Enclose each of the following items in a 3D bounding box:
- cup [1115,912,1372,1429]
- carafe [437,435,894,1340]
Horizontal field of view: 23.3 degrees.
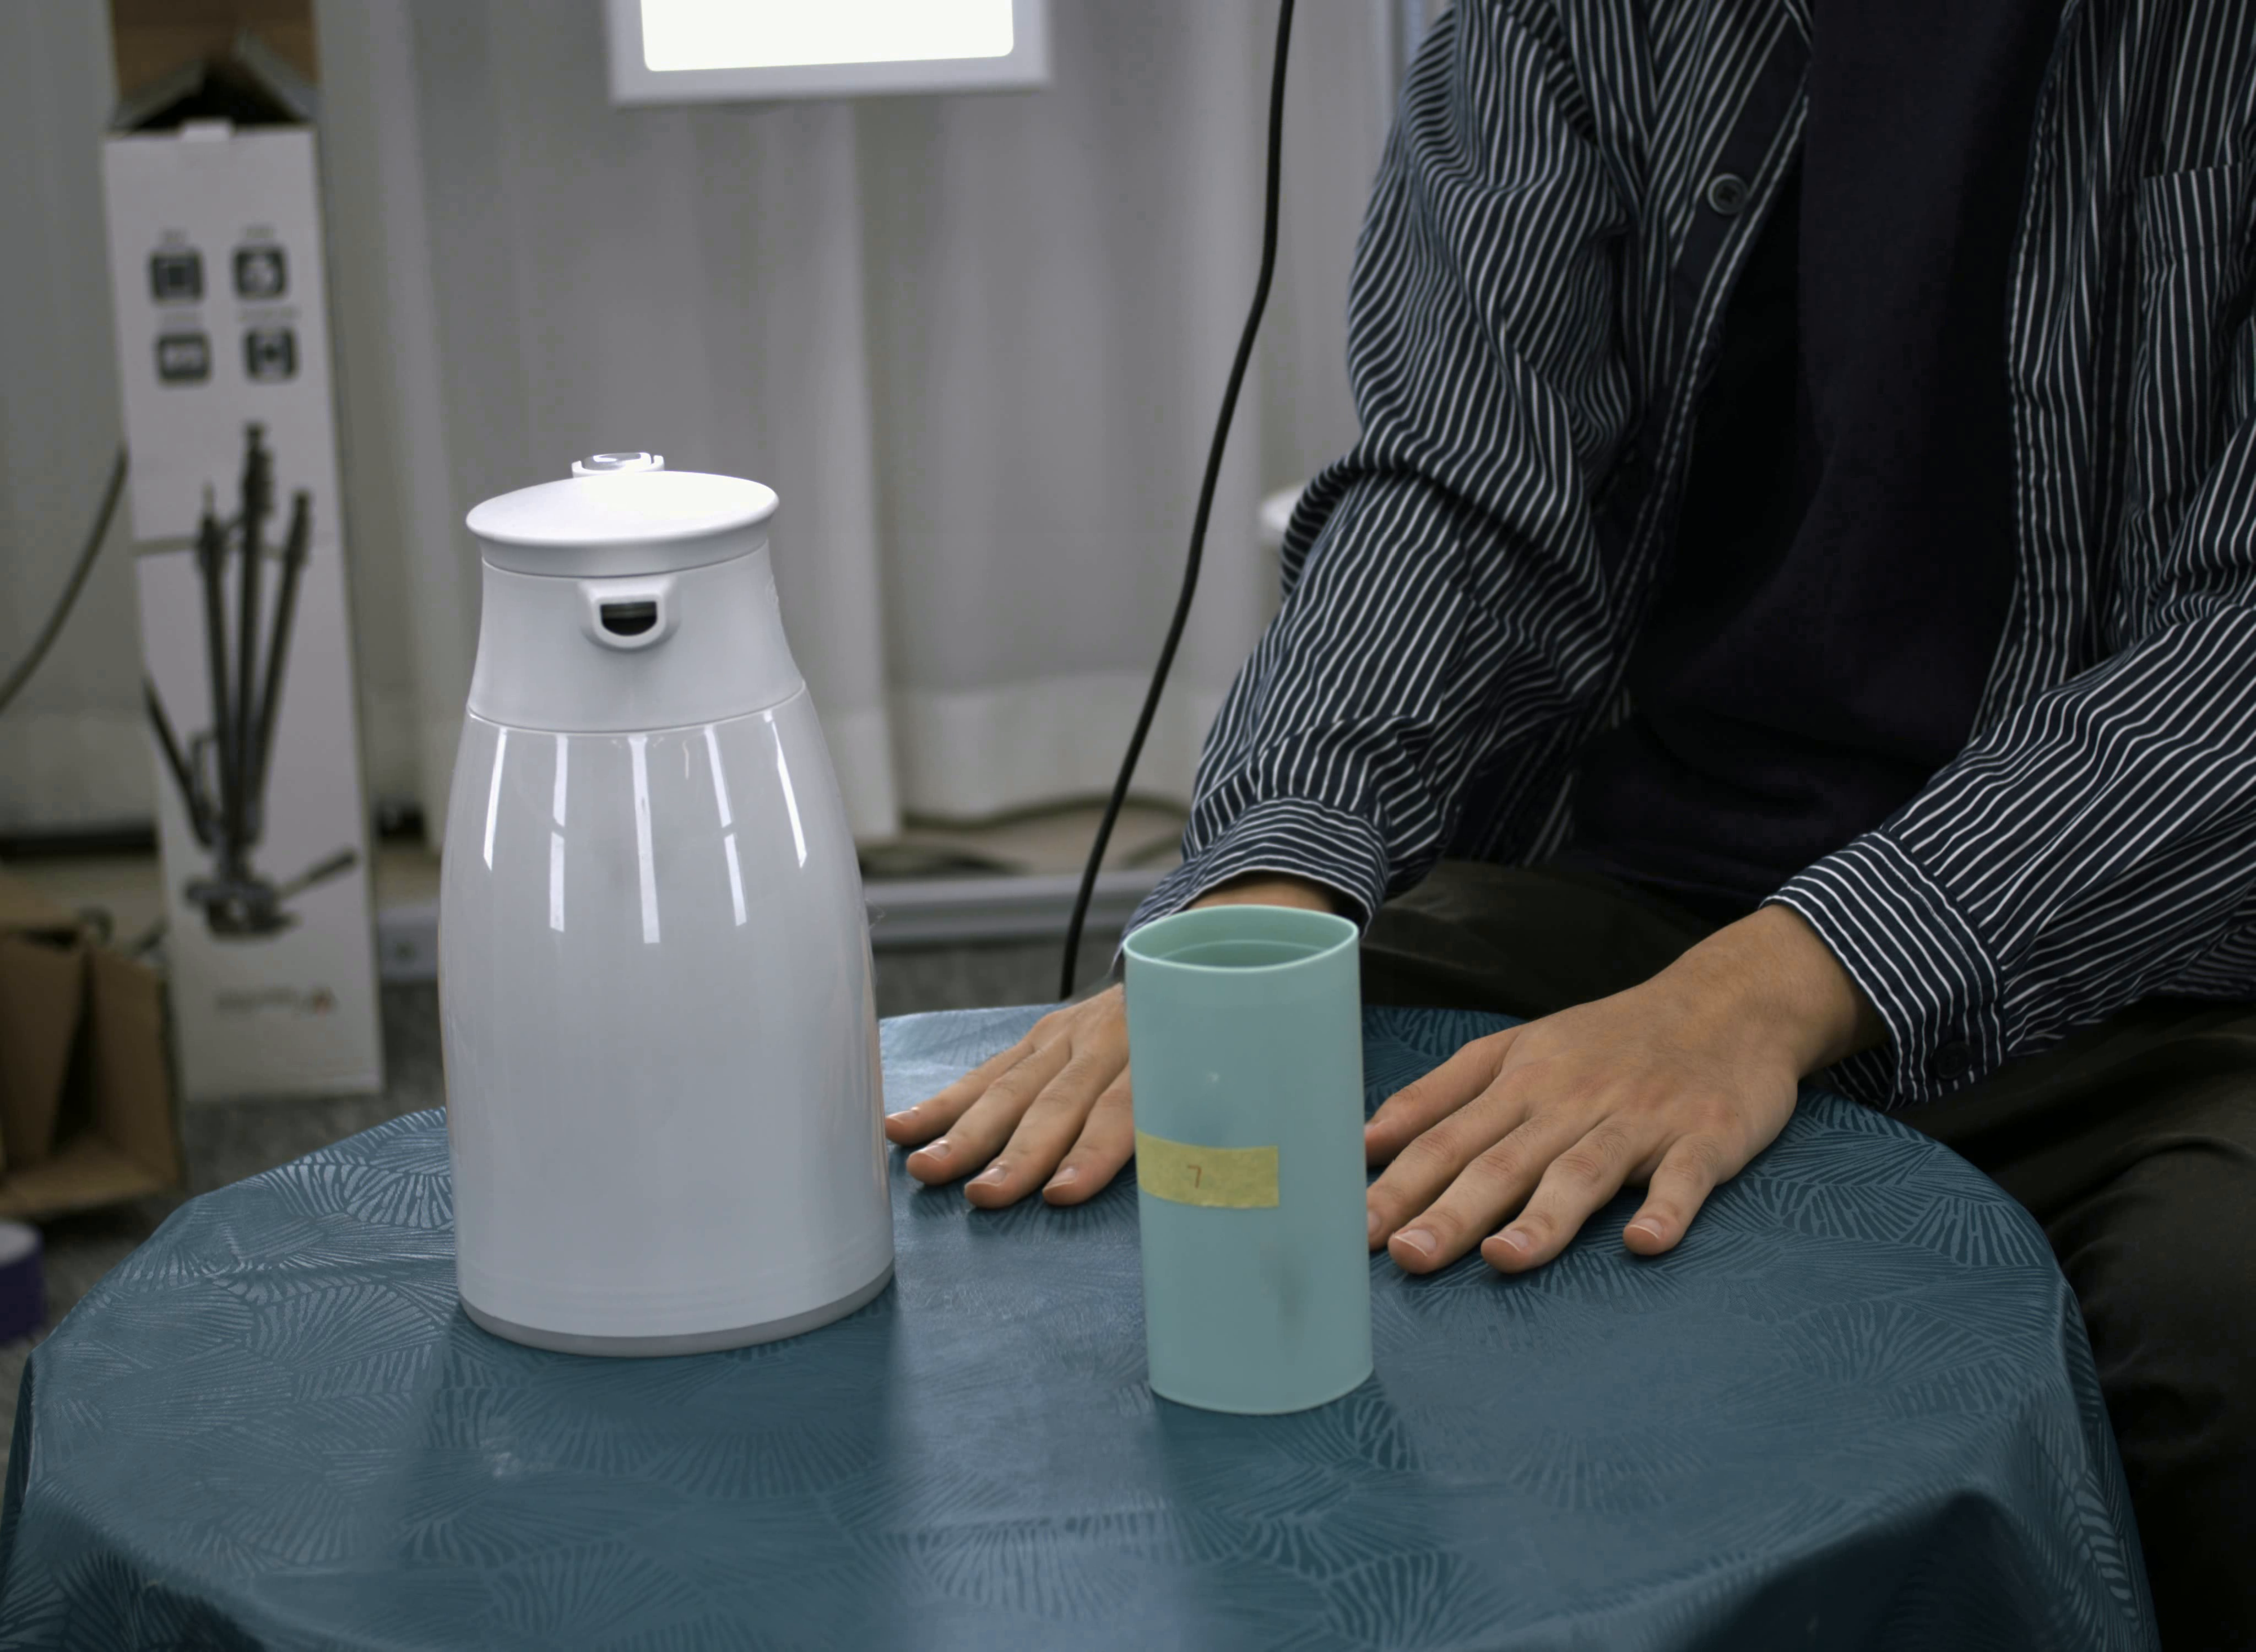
[{"bbox_3d":[0.034,0.096,1.536,0.066,0.132,0.067,-4,16,1],"label":"cup"},{"bbox_3d":[-0.146,0.010,1.645,0.132,0.248,0.169,-5,13,-8],"label":"carafe"}]
